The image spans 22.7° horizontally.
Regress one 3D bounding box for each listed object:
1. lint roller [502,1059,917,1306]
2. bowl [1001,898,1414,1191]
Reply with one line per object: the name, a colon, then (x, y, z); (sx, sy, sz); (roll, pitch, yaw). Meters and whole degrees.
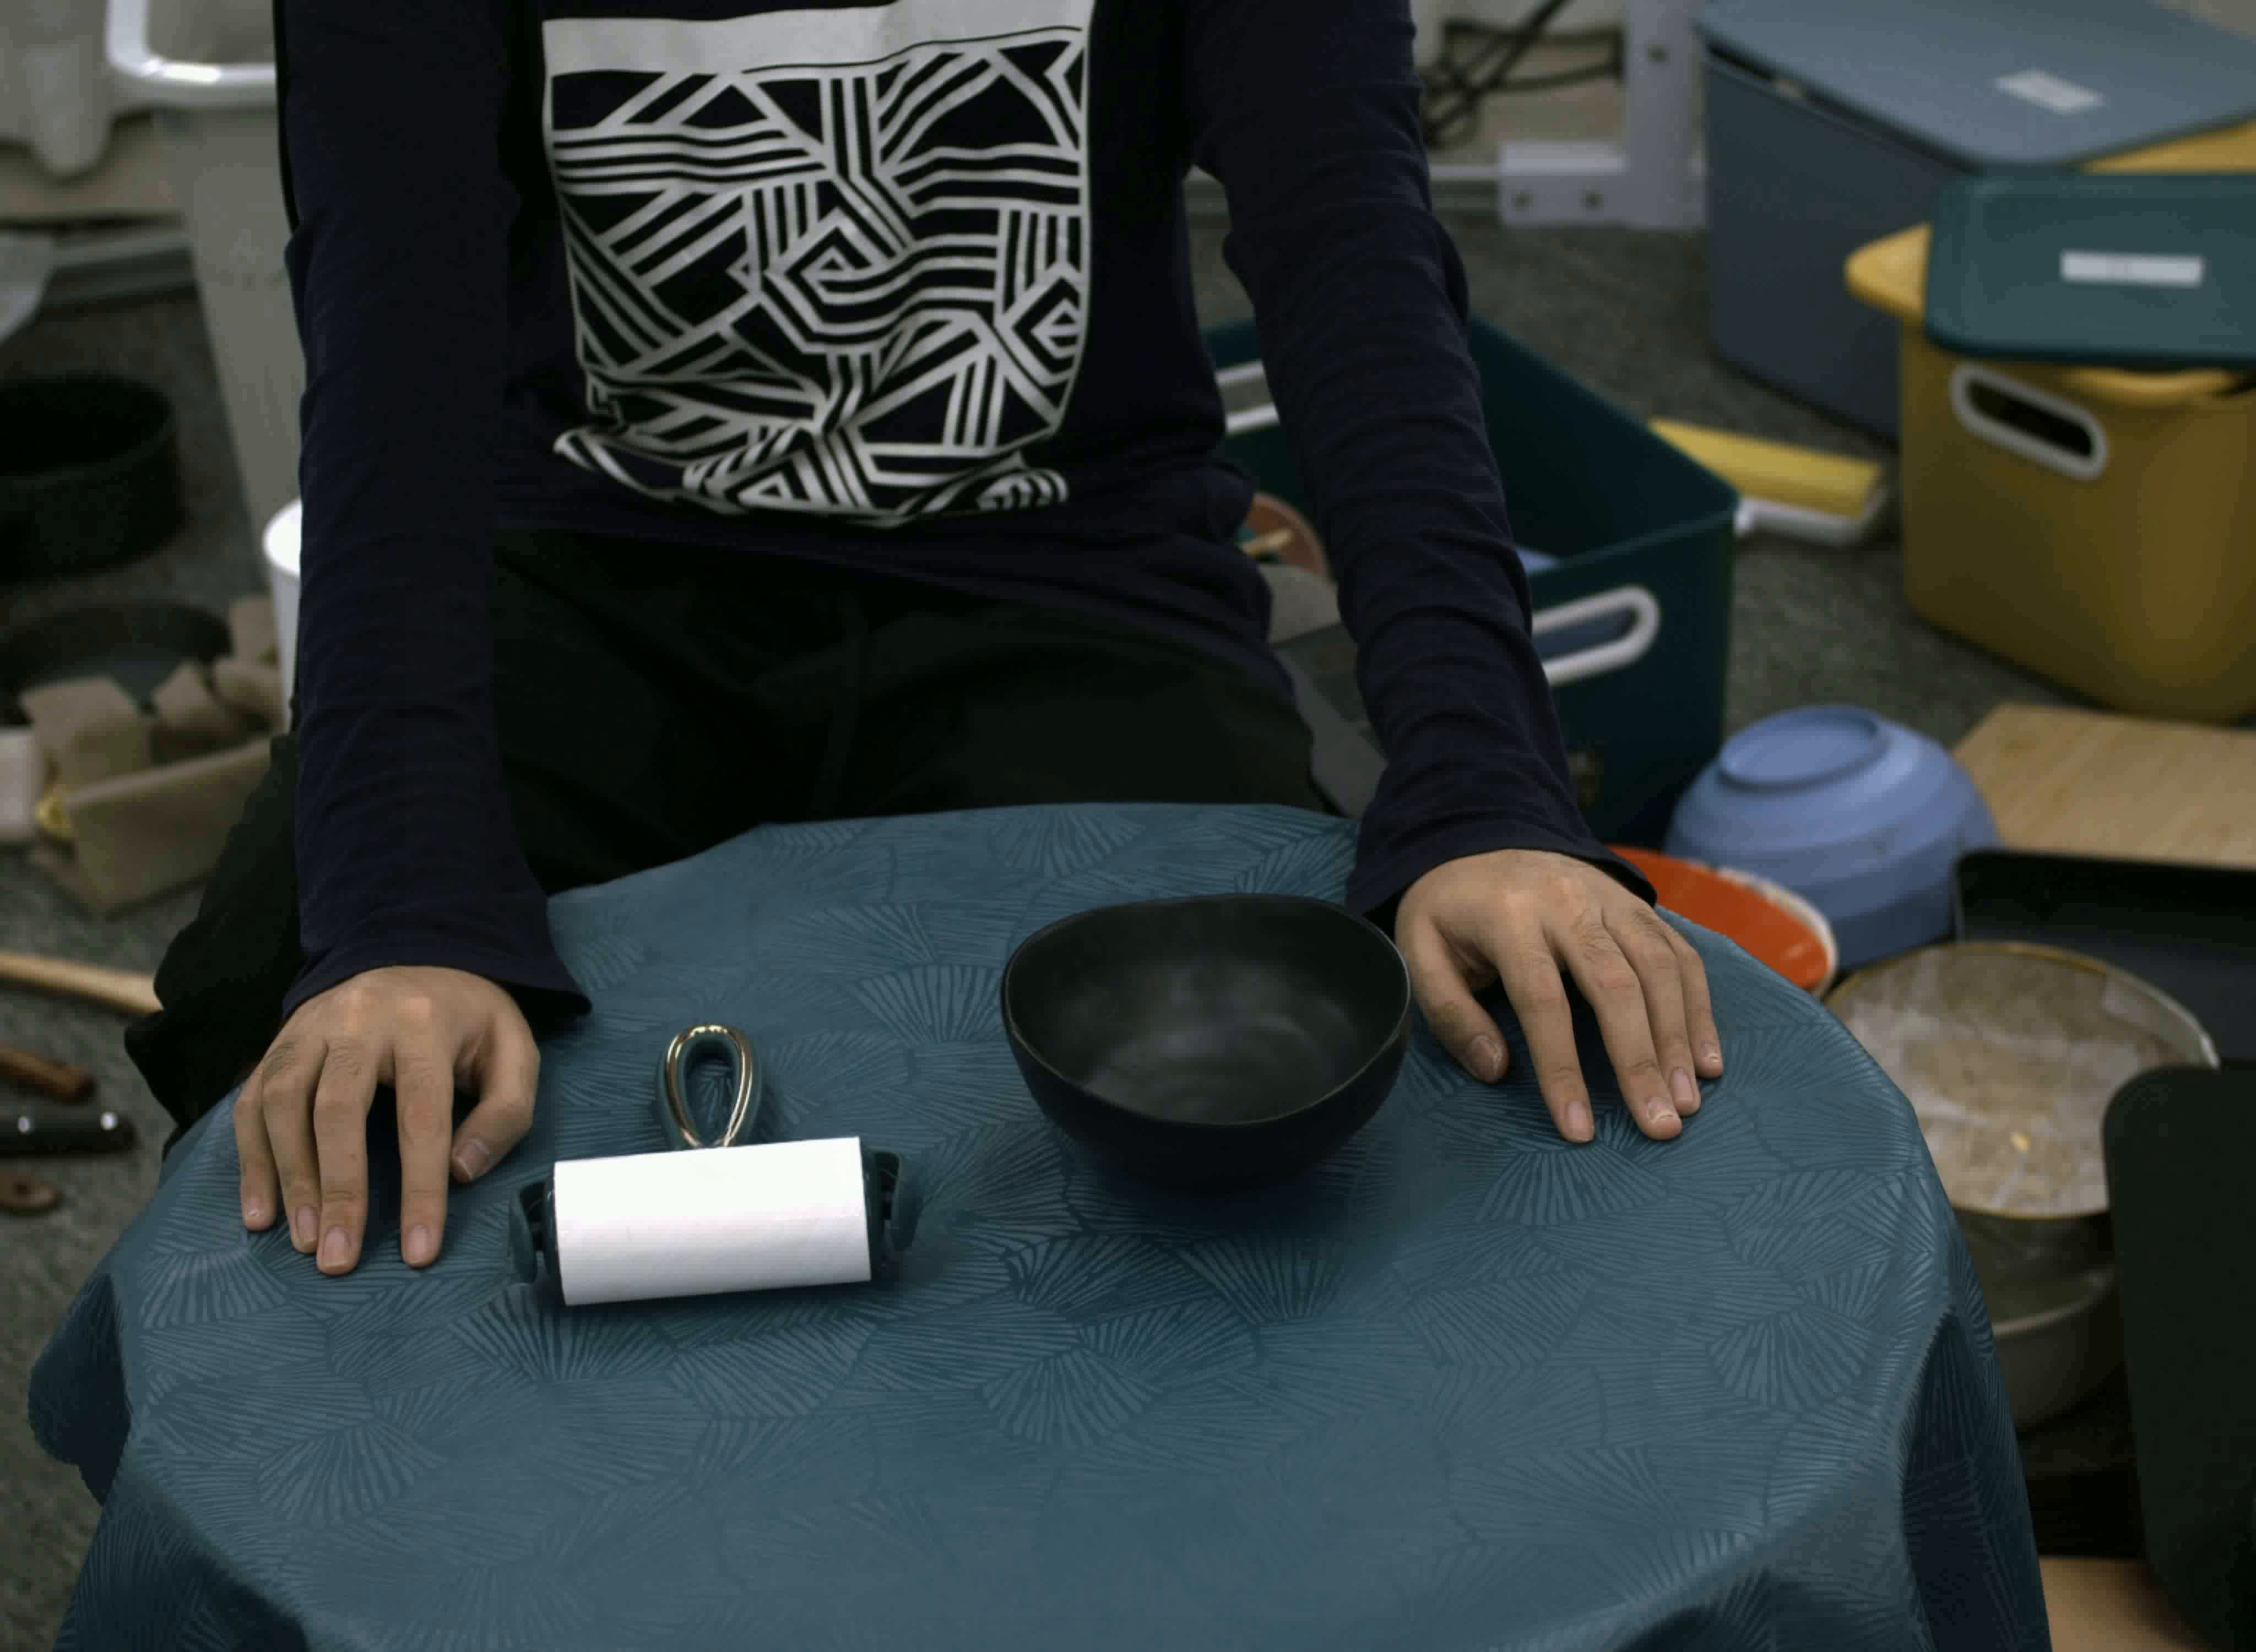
lint roller: (-0.141, 0.101, 1.873); (0.134, 0.048, 0.182); (-5, 24, -4)
bowl: (0.027, 0.078, 1.874); (0.137, 0.066, 0.172); (-5, 25, -4)
